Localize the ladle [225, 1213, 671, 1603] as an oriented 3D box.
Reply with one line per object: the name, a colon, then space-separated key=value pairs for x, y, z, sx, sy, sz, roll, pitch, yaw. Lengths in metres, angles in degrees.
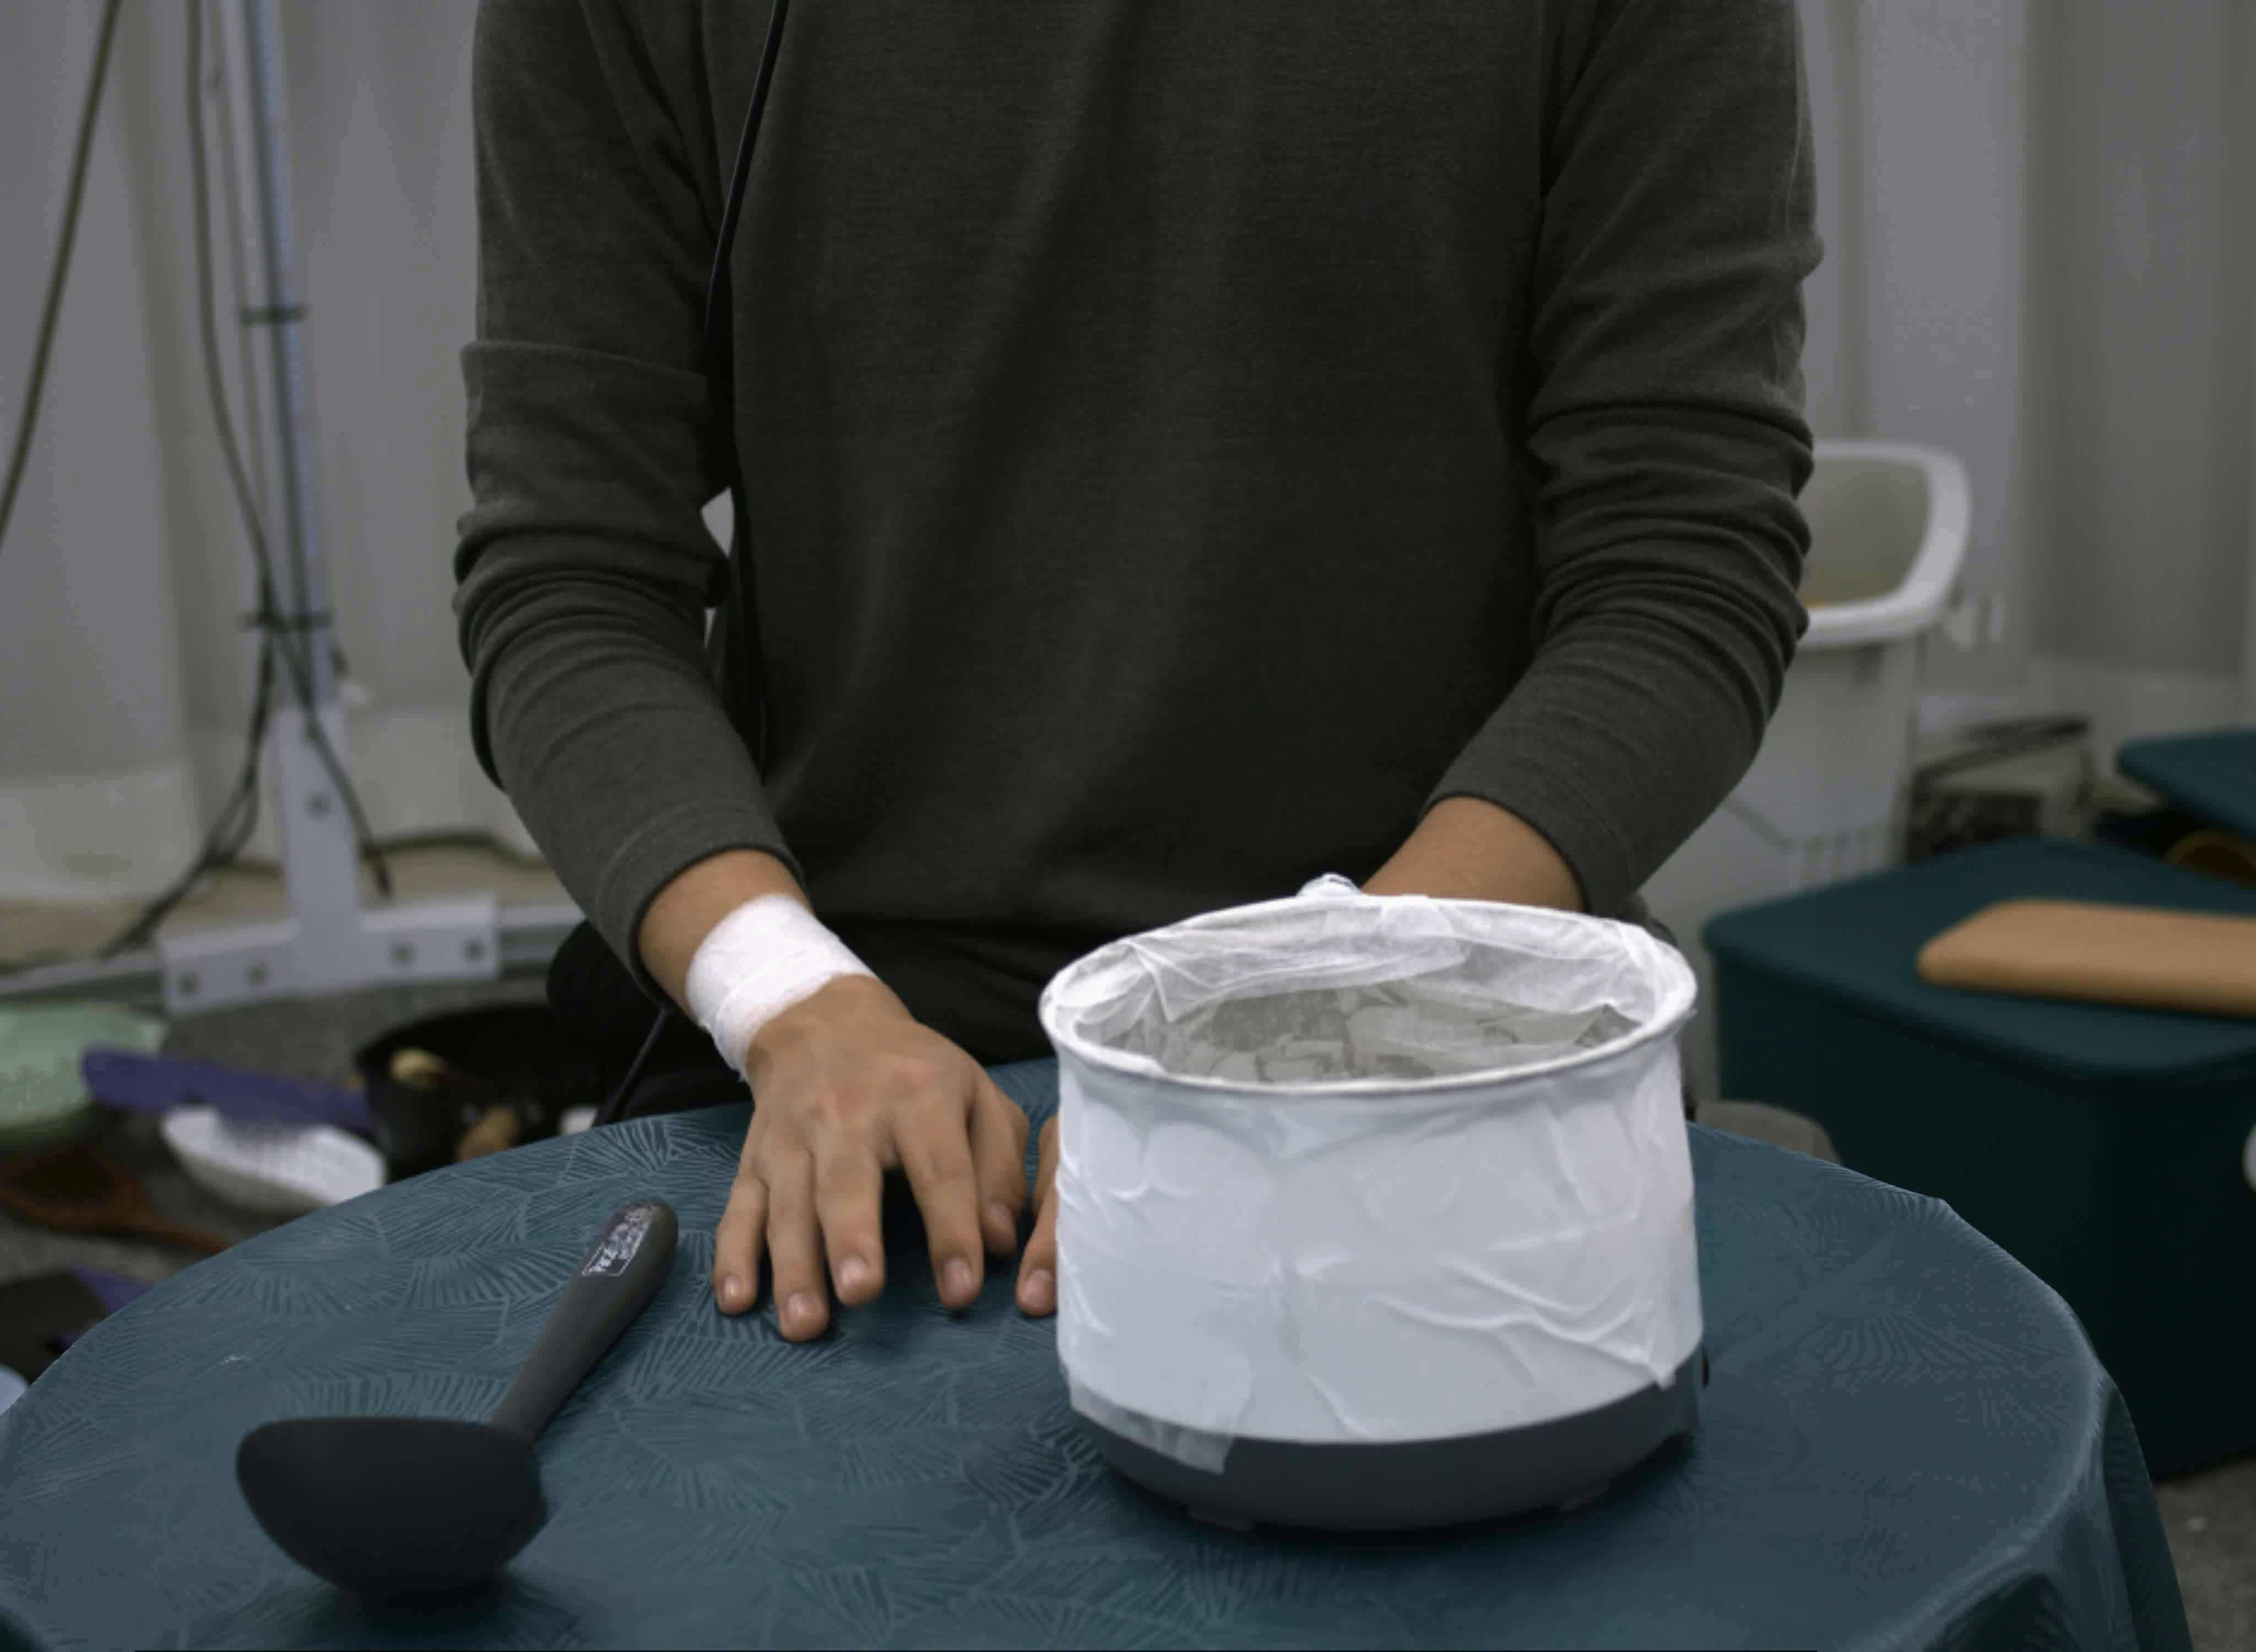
ladle: x=-0.170 y=0.141 z=1.527 sx=0.086 sy=0.064 sz=0.315 roll=4 pitch=15 yaw=8

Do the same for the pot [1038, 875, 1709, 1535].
pot: x=0.065 y=0.098 z=1.505 sx=0.178 sy=0.136 sz=0.235 roll=-3 pitch=14 yaw=-4
